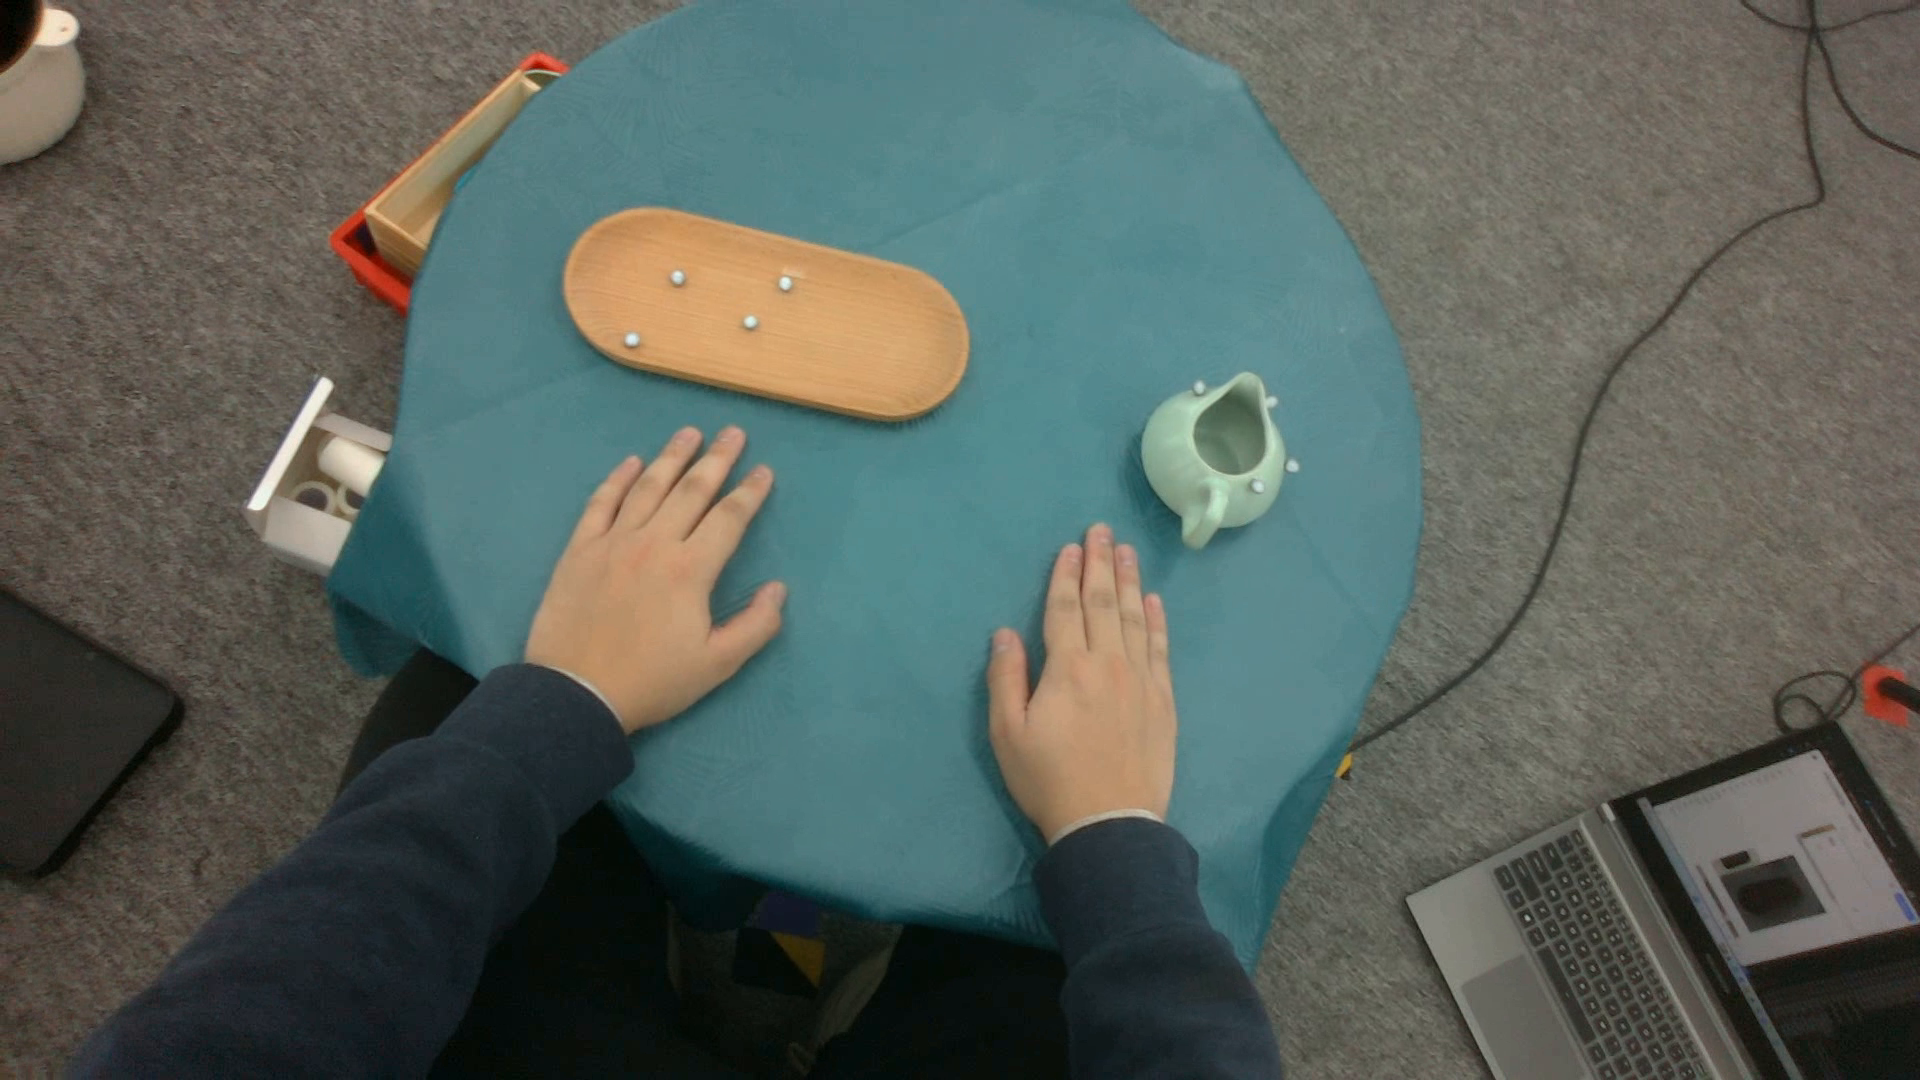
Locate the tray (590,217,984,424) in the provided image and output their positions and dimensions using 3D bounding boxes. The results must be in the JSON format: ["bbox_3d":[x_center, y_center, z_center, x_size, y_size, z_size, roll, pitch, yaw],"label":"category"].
[{"bbox_3d":[-0.100,-0.128,0.809,0.231,0.020,0.102,12,70,-8],"label":"tray"}]

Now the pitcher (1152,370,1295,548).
[{"bbox_3d":[0.153,-0.043,0.802,0.086,0.060,0.108,19,70,-2],"label":"pitcher"}]
